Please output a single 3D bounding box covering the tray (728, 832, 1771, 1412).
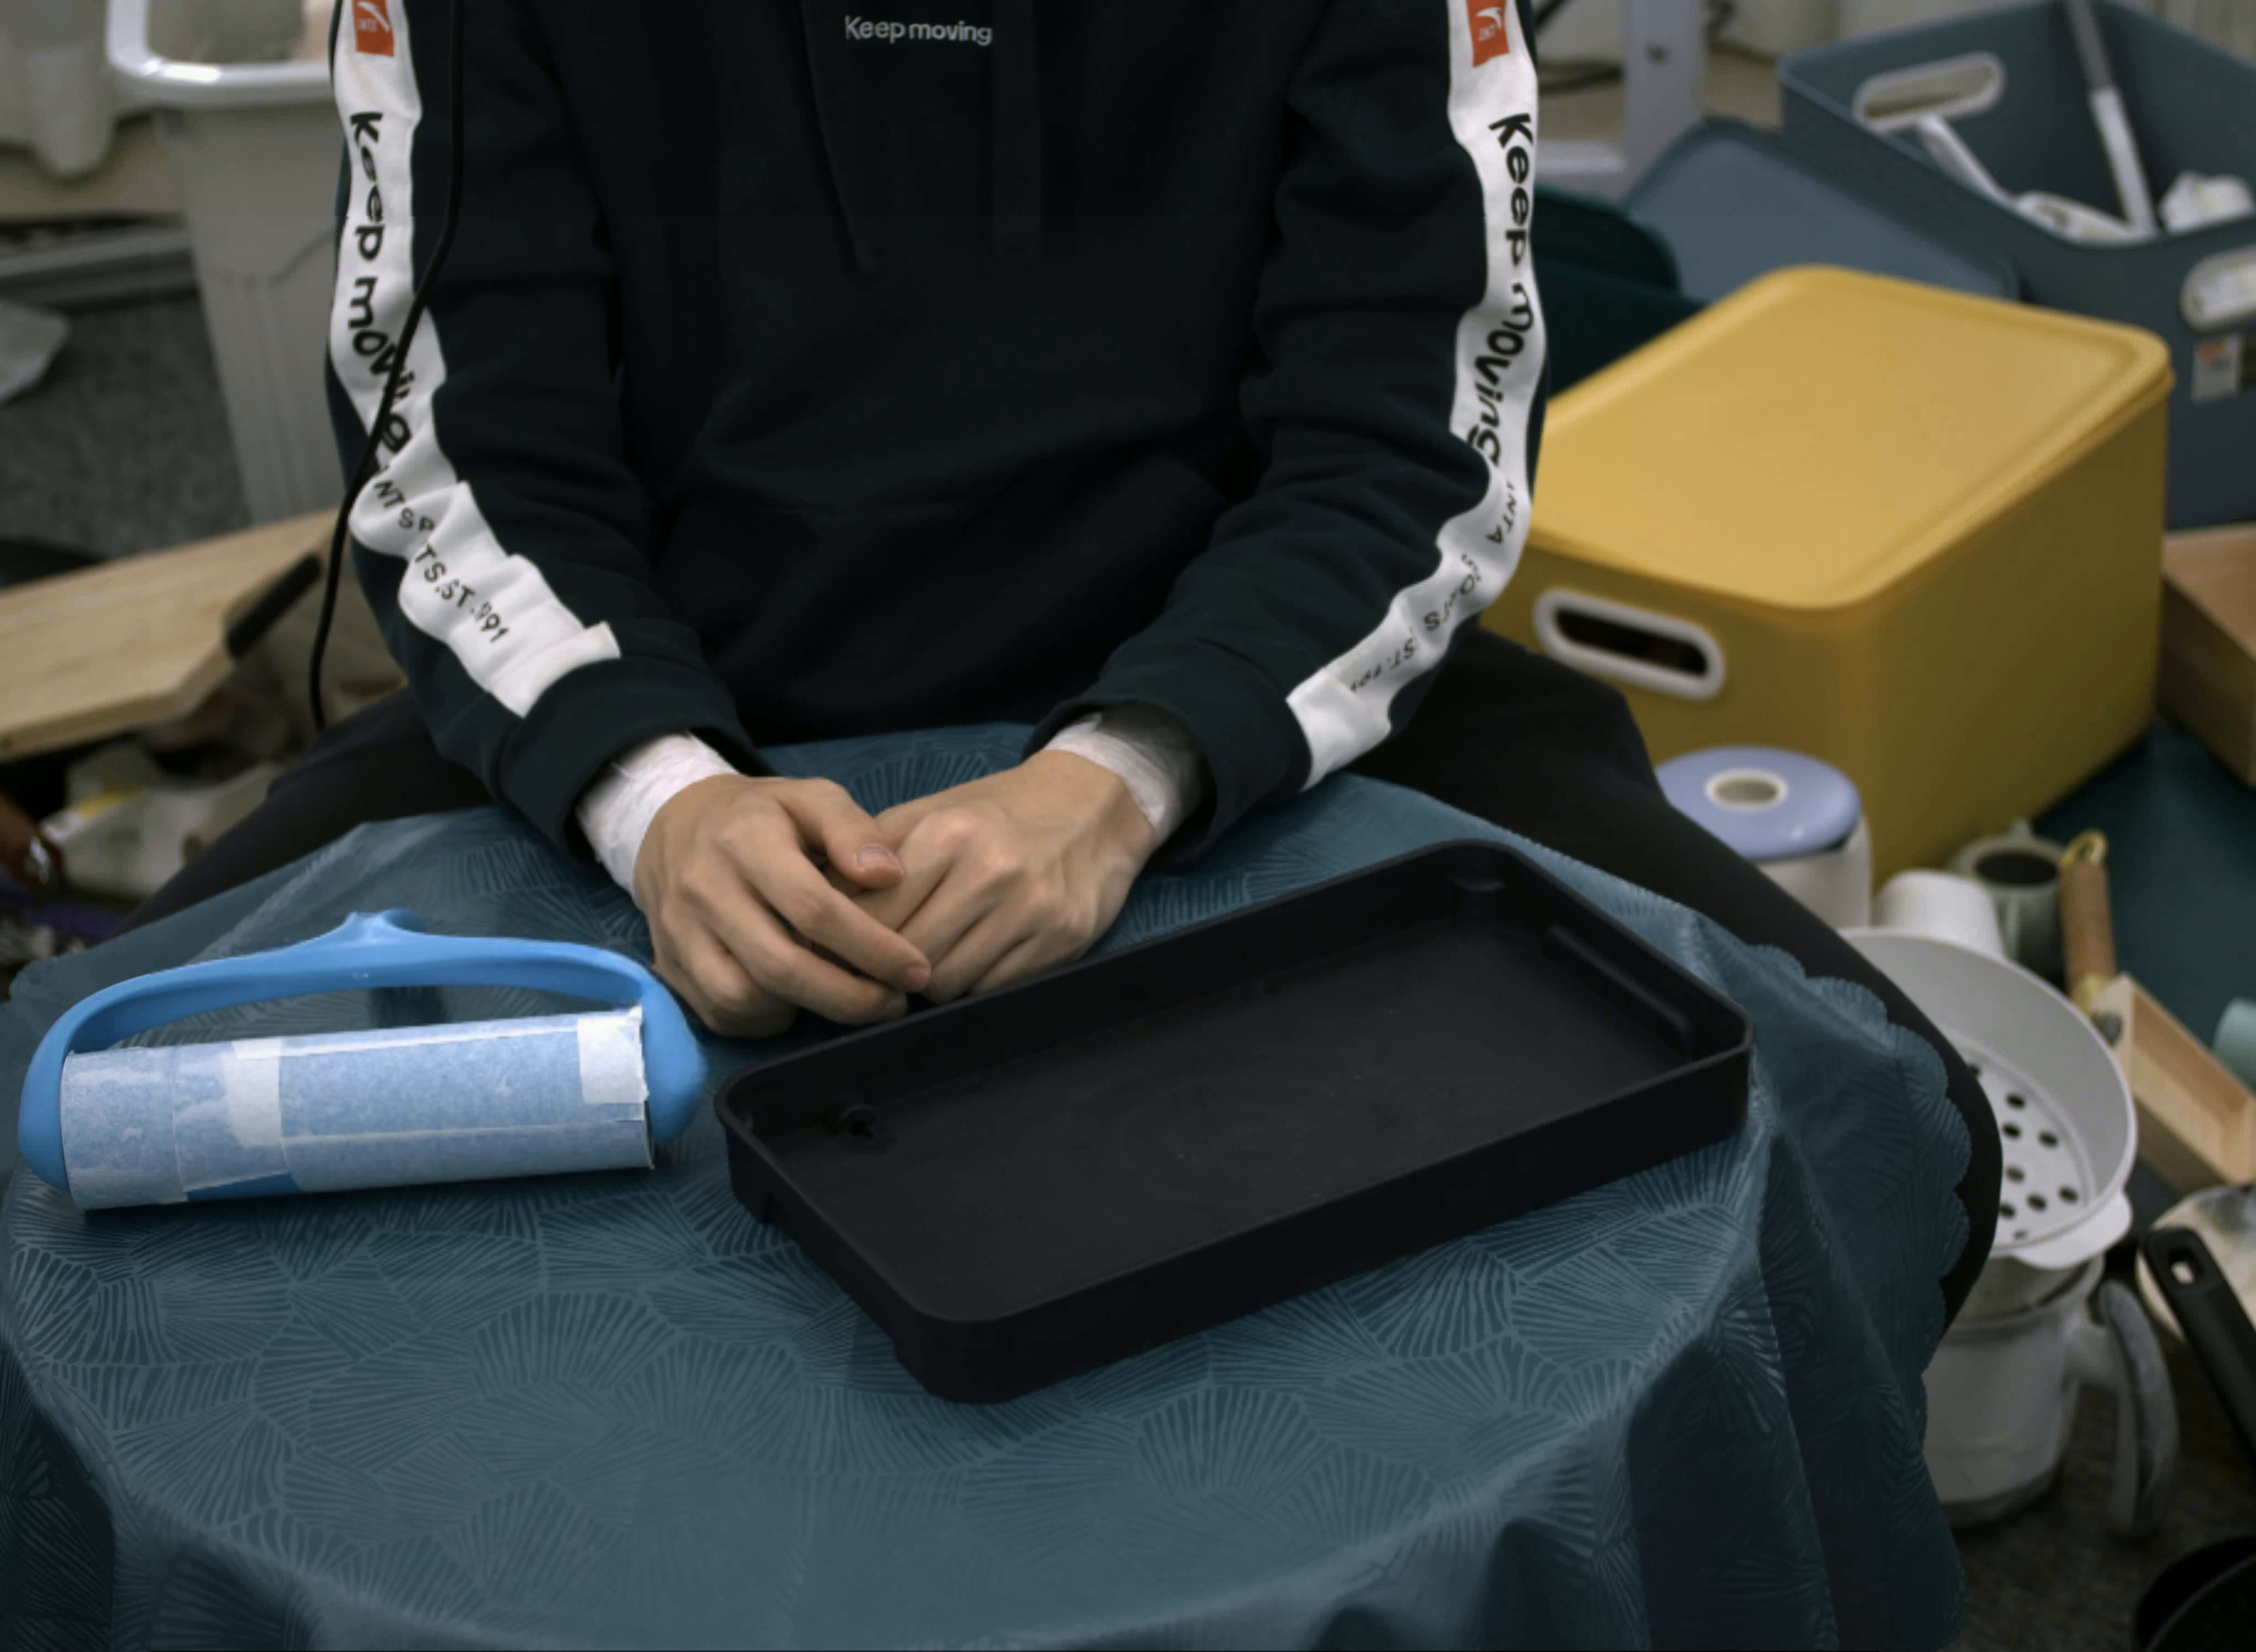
[{"bbox_3d":[0.041,0.093,1.875,0.320,0.036,0.185,-19,31,-26],"label":"tray"}]

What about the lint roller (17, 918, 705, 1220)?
[{"bbox_3d":[-0.262,0.067,1.929,0.228,0.067,0.183,-7,29,-4],"label":"lint roller"}]
